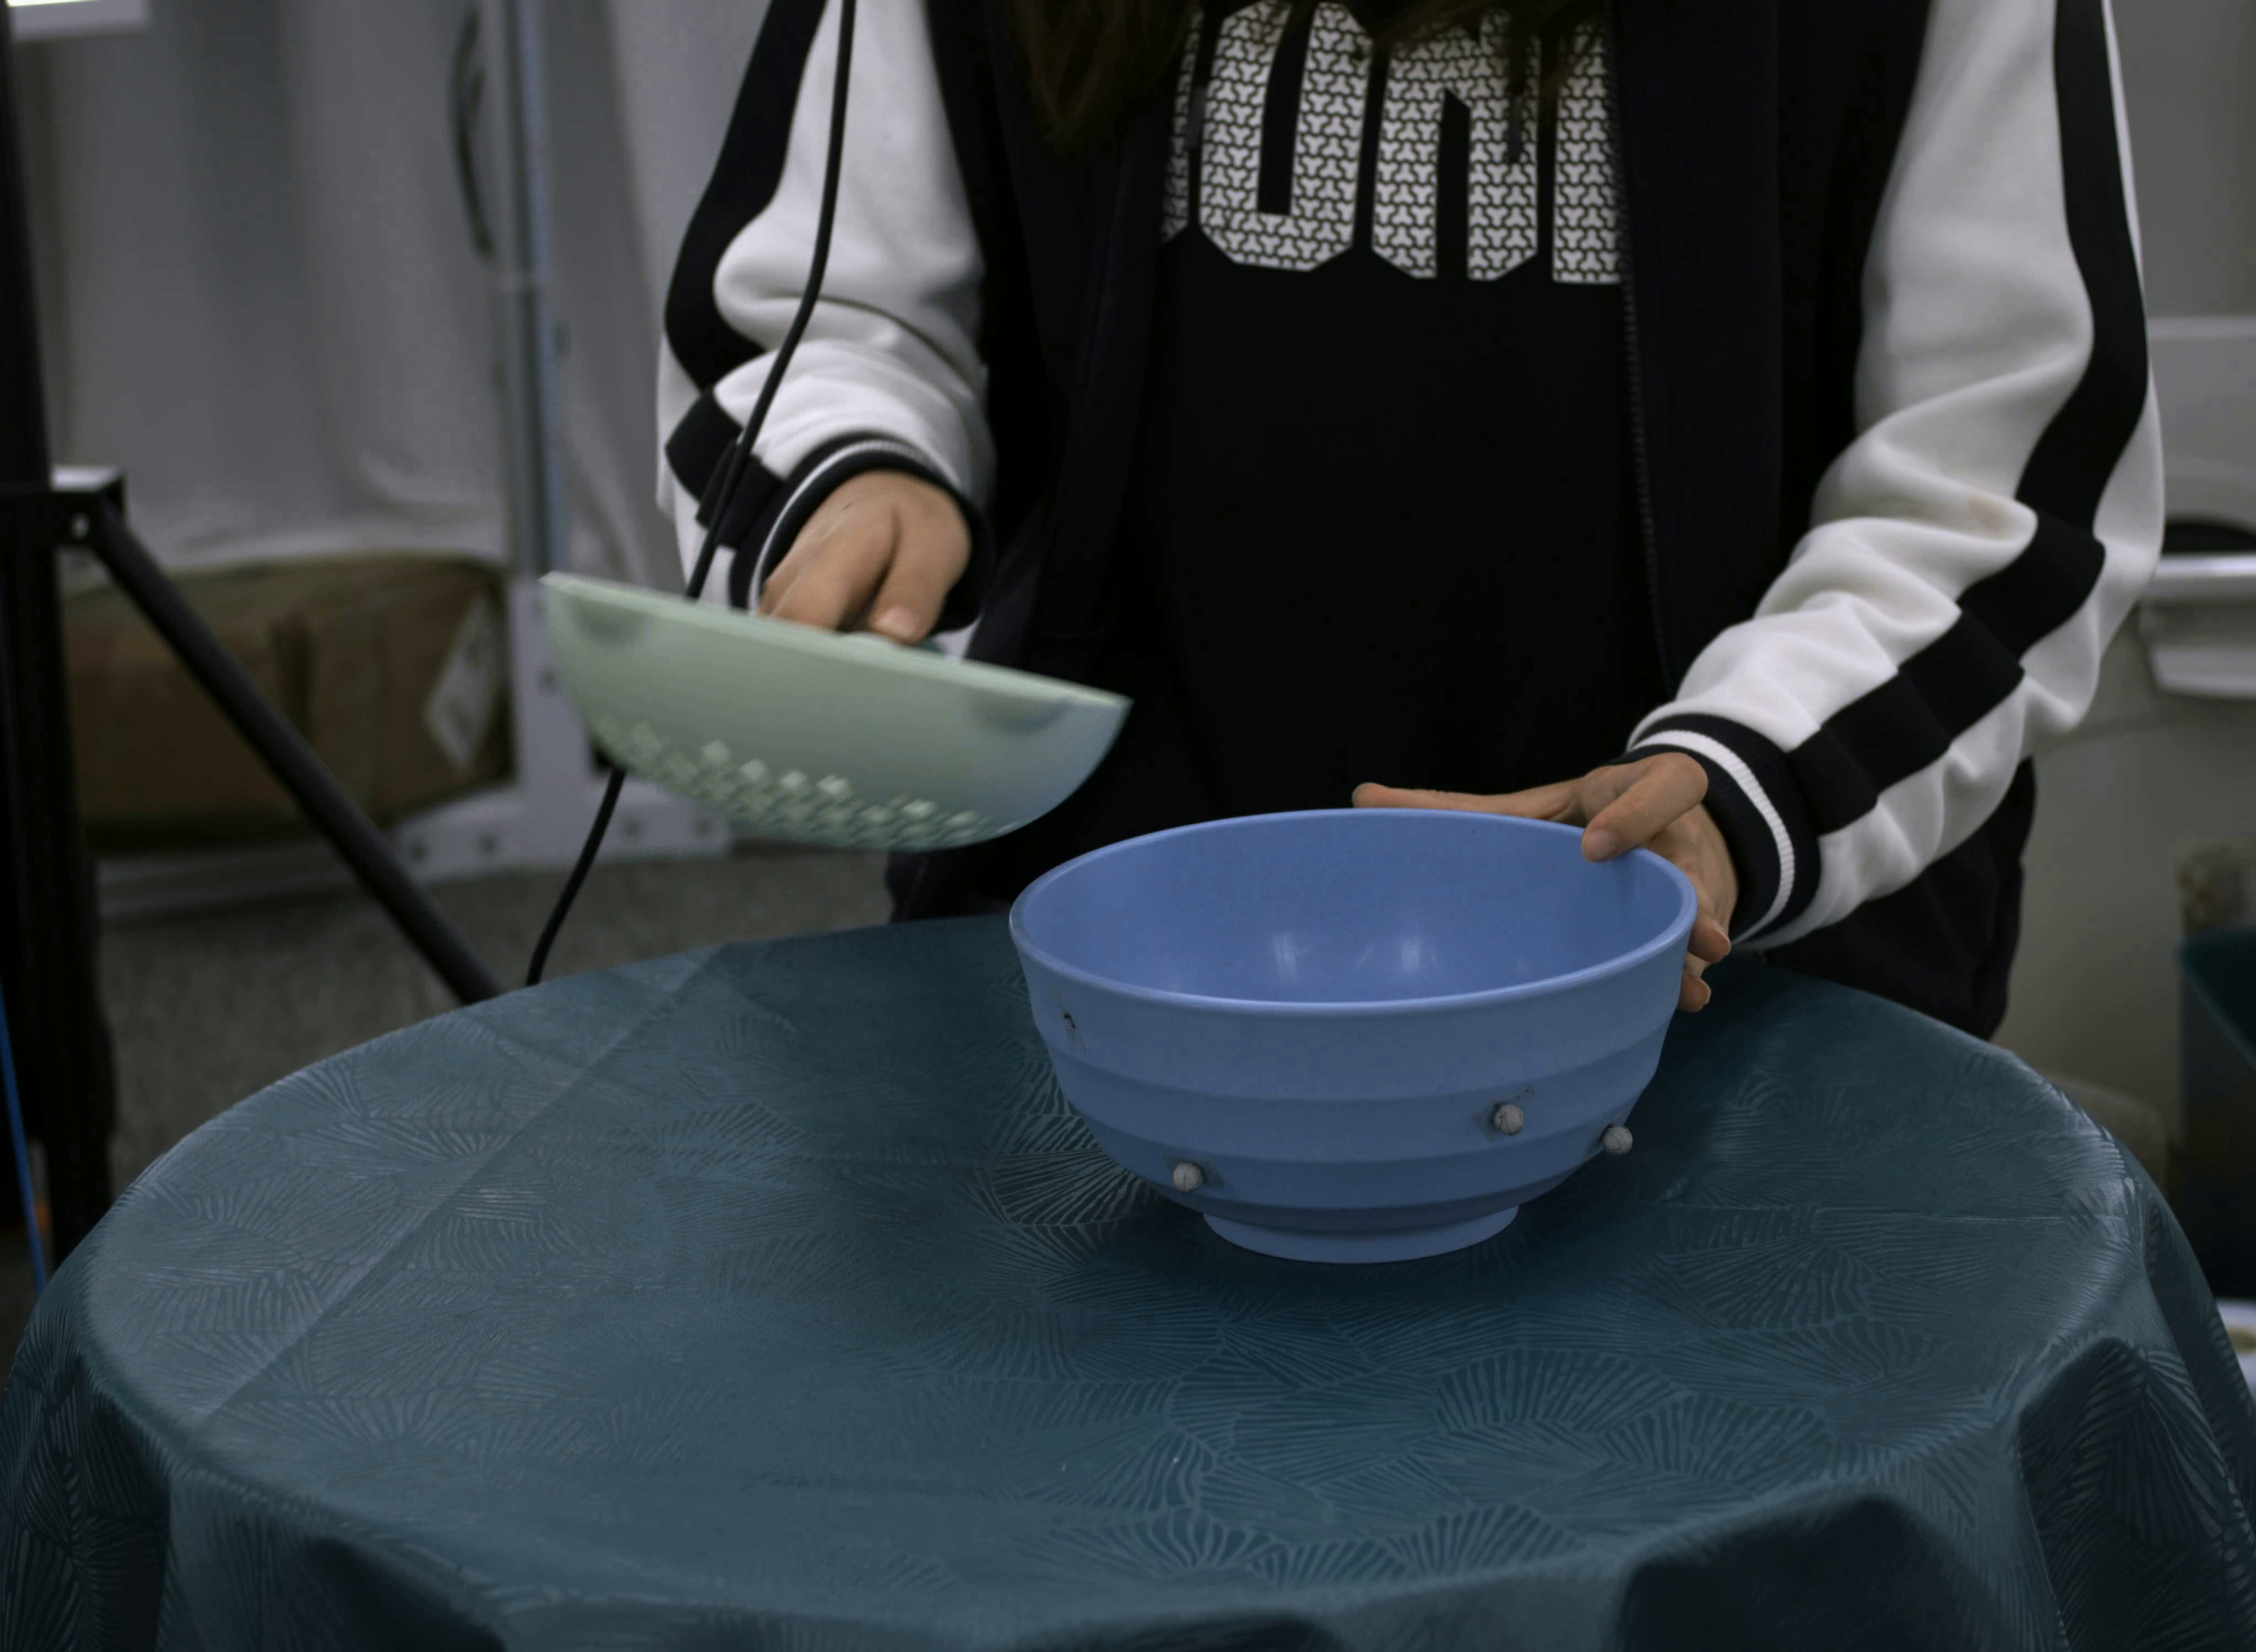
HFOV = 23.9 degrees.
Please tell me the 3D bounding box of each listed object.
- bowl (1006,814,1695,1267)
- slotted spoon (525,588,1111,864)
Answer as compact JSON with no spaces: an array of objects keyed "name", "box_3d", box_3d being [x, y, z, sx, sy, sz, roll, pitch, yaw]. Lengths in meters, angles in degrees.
[{"name":"bowl","box_3d":[0.065,0.067,1.521,0.195,0.095,0.197,-3,15,-1]},{"name":"slotted spoon","box_3d":[-0.085,-0.039,1.599,0.169,0.075,0.358,13,10,3]}]
